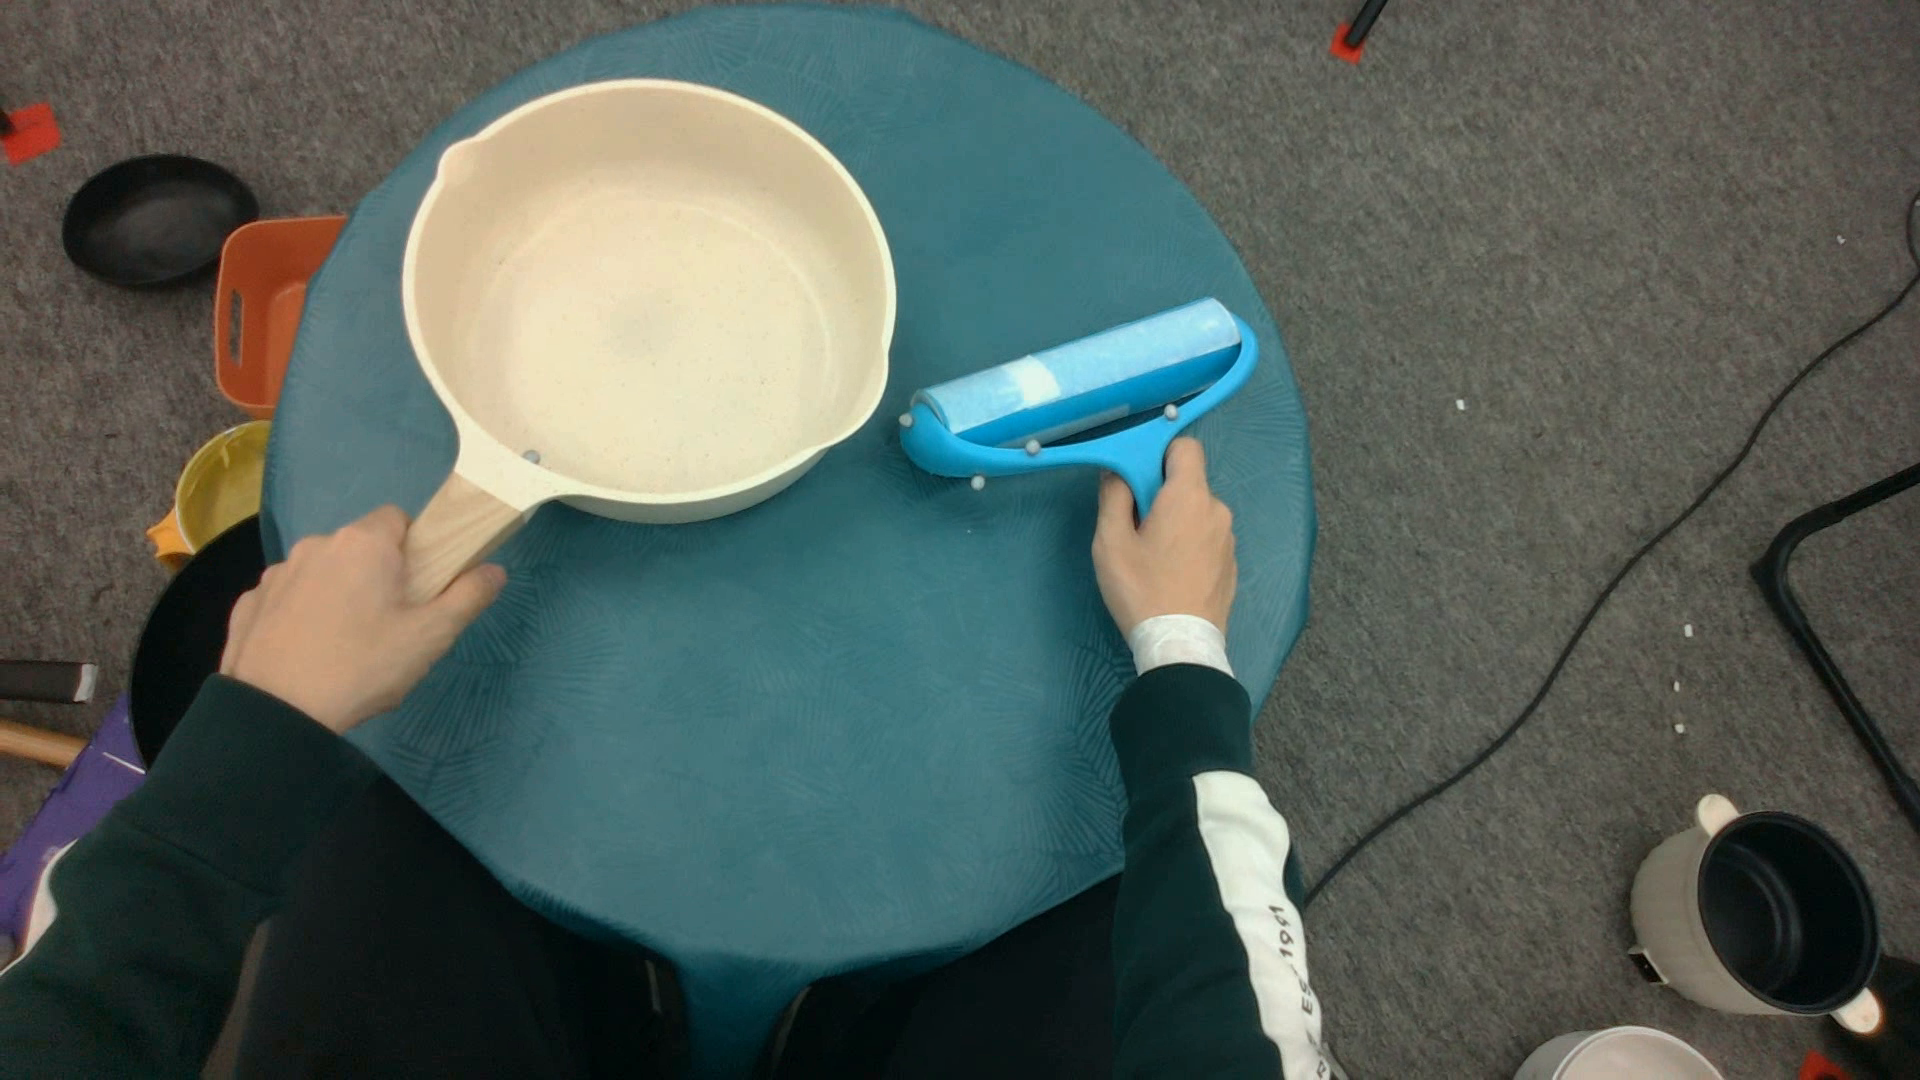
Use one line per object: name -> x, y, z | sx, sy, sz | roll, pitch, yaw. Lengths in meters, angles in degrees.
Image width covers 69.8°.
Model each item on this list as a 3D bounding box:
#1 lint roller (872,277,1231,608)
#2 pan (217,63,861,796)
lint roller -> 0.082, -0.051, 0.797 | 0.229, 0.067, 0.180 | -23, 75, -20
pan -> -0.224, -0.057, 0.715 | 0.263, 0.101, 0.436 | 30, 69, -1
